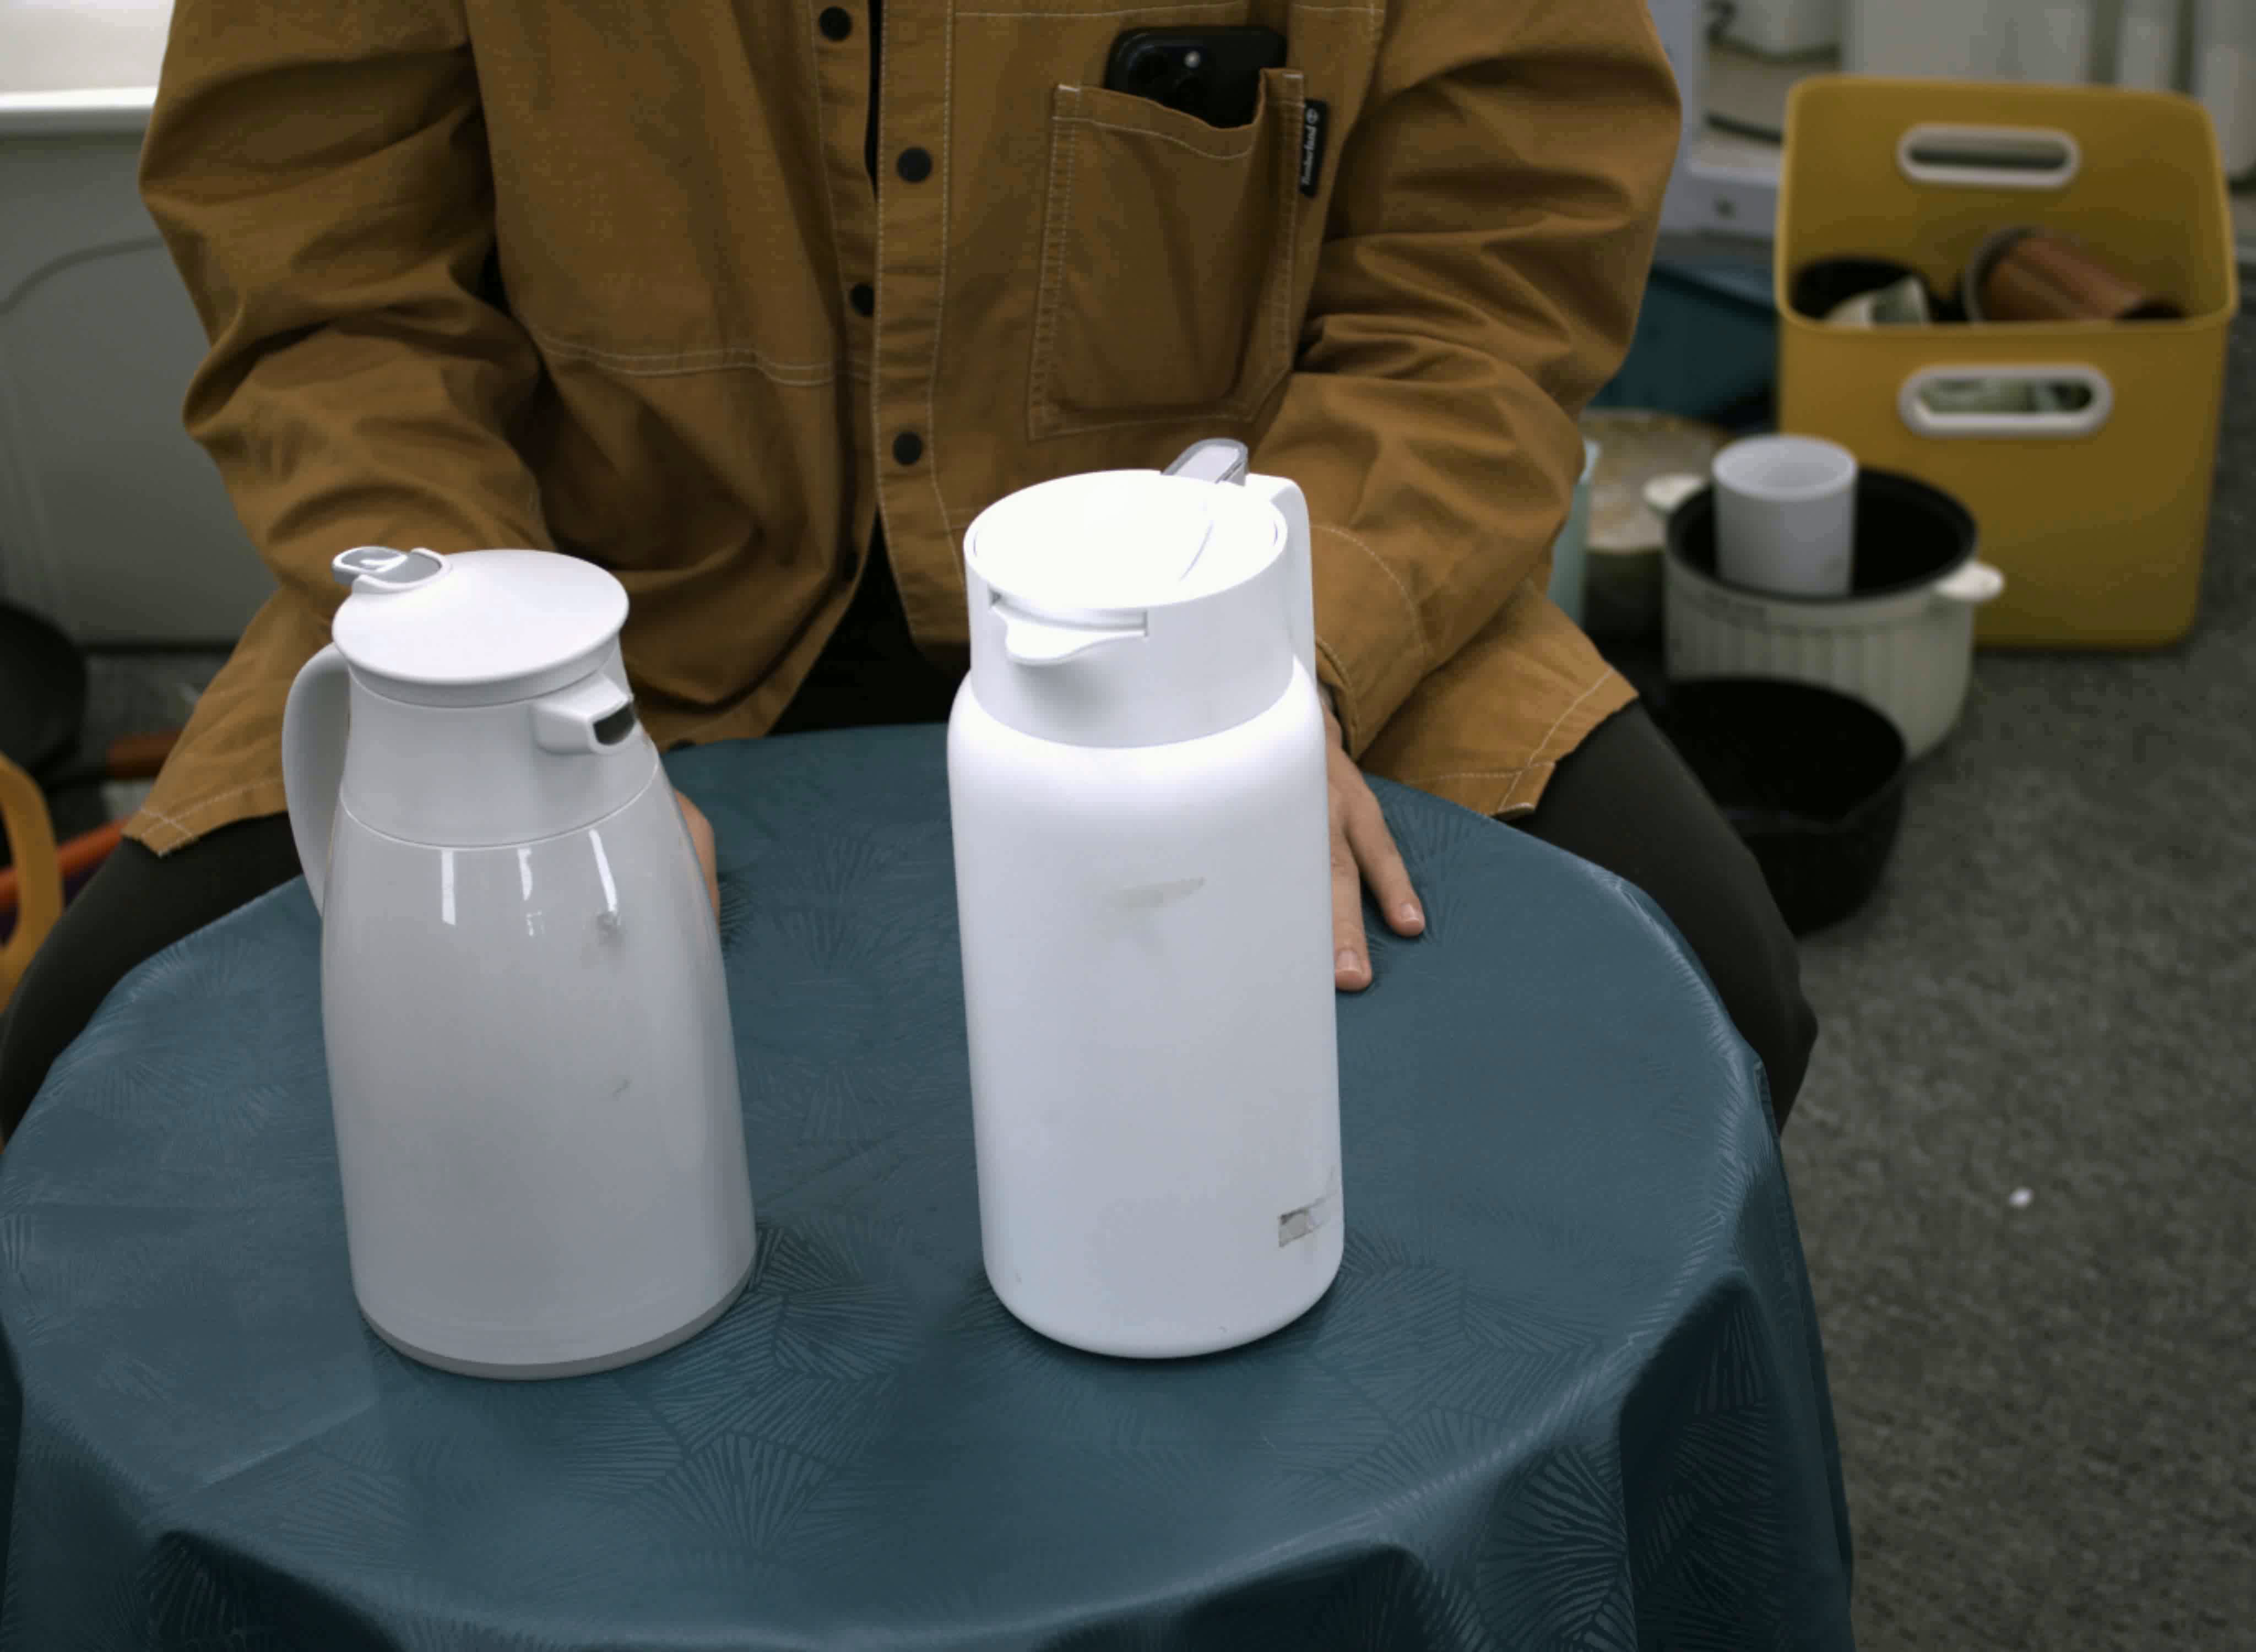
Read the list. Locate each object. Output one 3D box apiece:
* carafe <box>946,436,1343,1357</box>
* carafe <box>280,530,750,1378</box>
[{"bbox_3d":[0.011,0.018,1.770,0.123,0.266,0.176,7,28,24],"label":"carafe"},{"bbox_3d":[-0.208,0.030,1.788,0.167,0.246,0.134,20,34,40],"label":"carafe"}]
